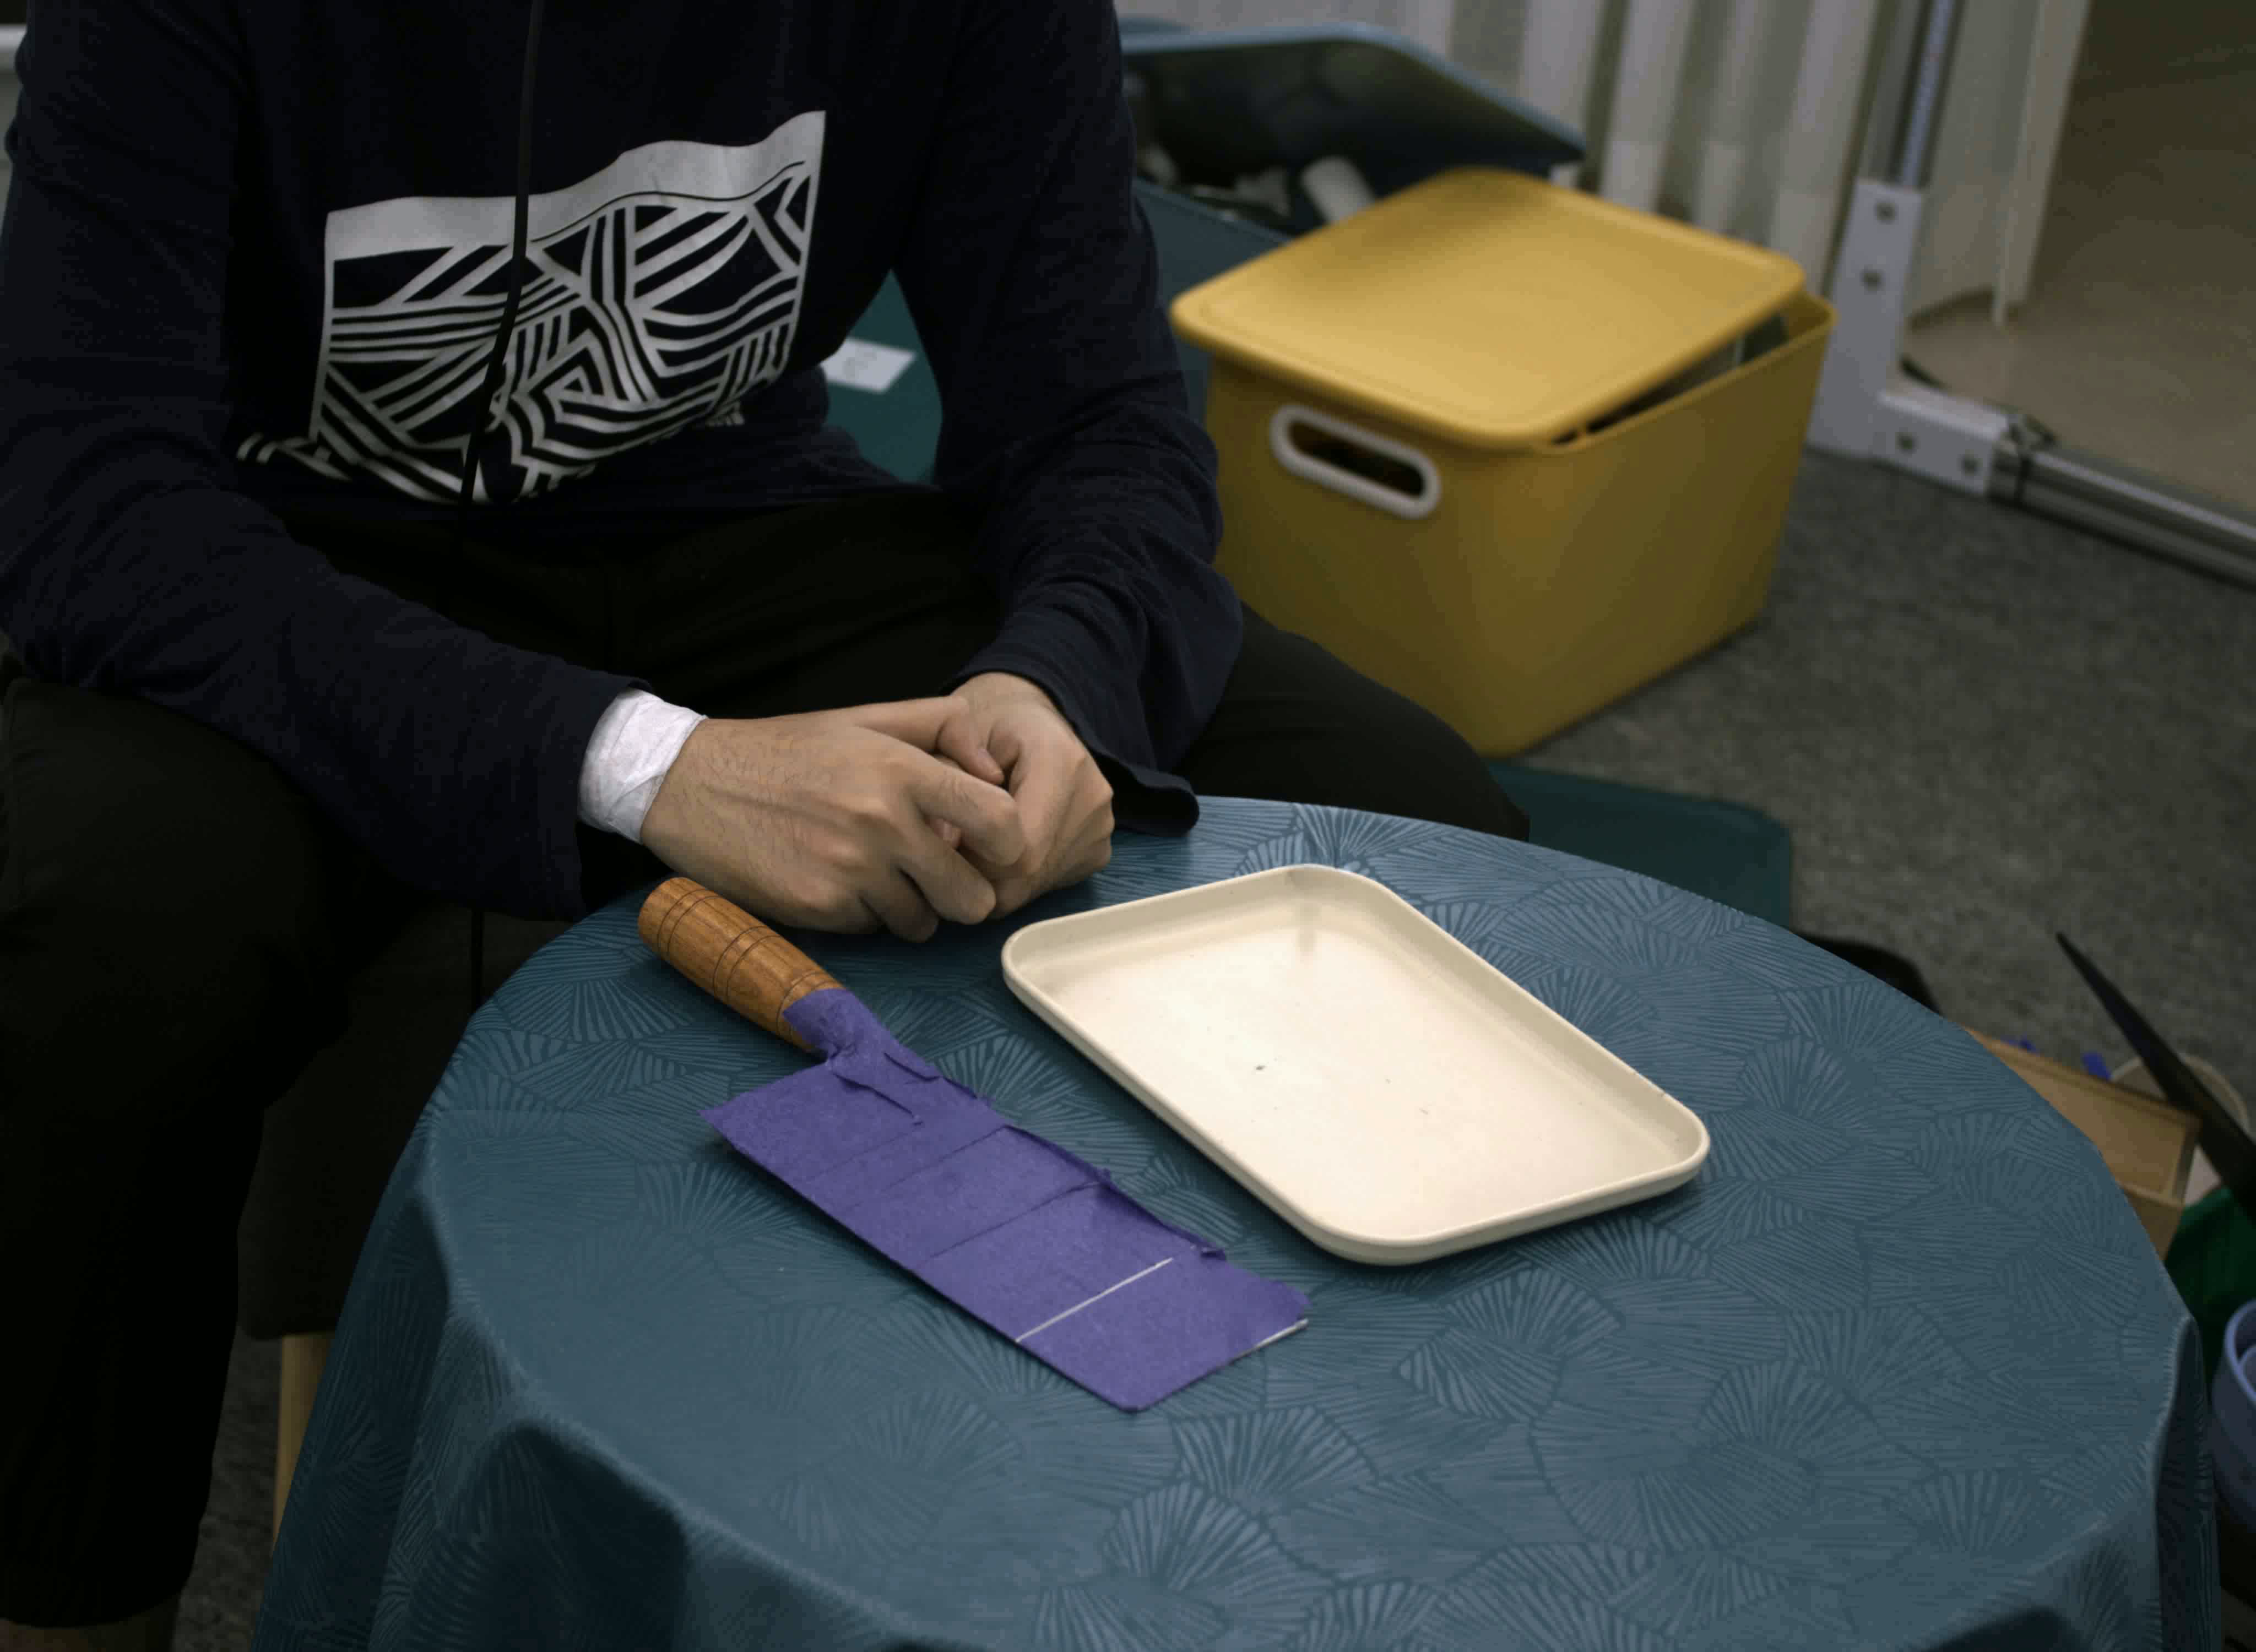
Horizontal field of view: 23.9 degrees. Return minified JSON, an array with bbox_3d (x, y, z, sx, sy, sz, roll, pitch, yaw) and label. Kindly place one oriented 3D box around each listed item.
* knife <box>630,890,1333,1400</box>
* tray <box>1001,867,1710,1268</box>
[{"bbox_3d":[-0.077,0.104,1.798,0.317,0.032,0.103,28,34,36],"label":"knife"},{"bbox_3d":[0.077,0.084,1.883,0.170,0.017,0.242,-12,32,-32],"label":"tray"}]
